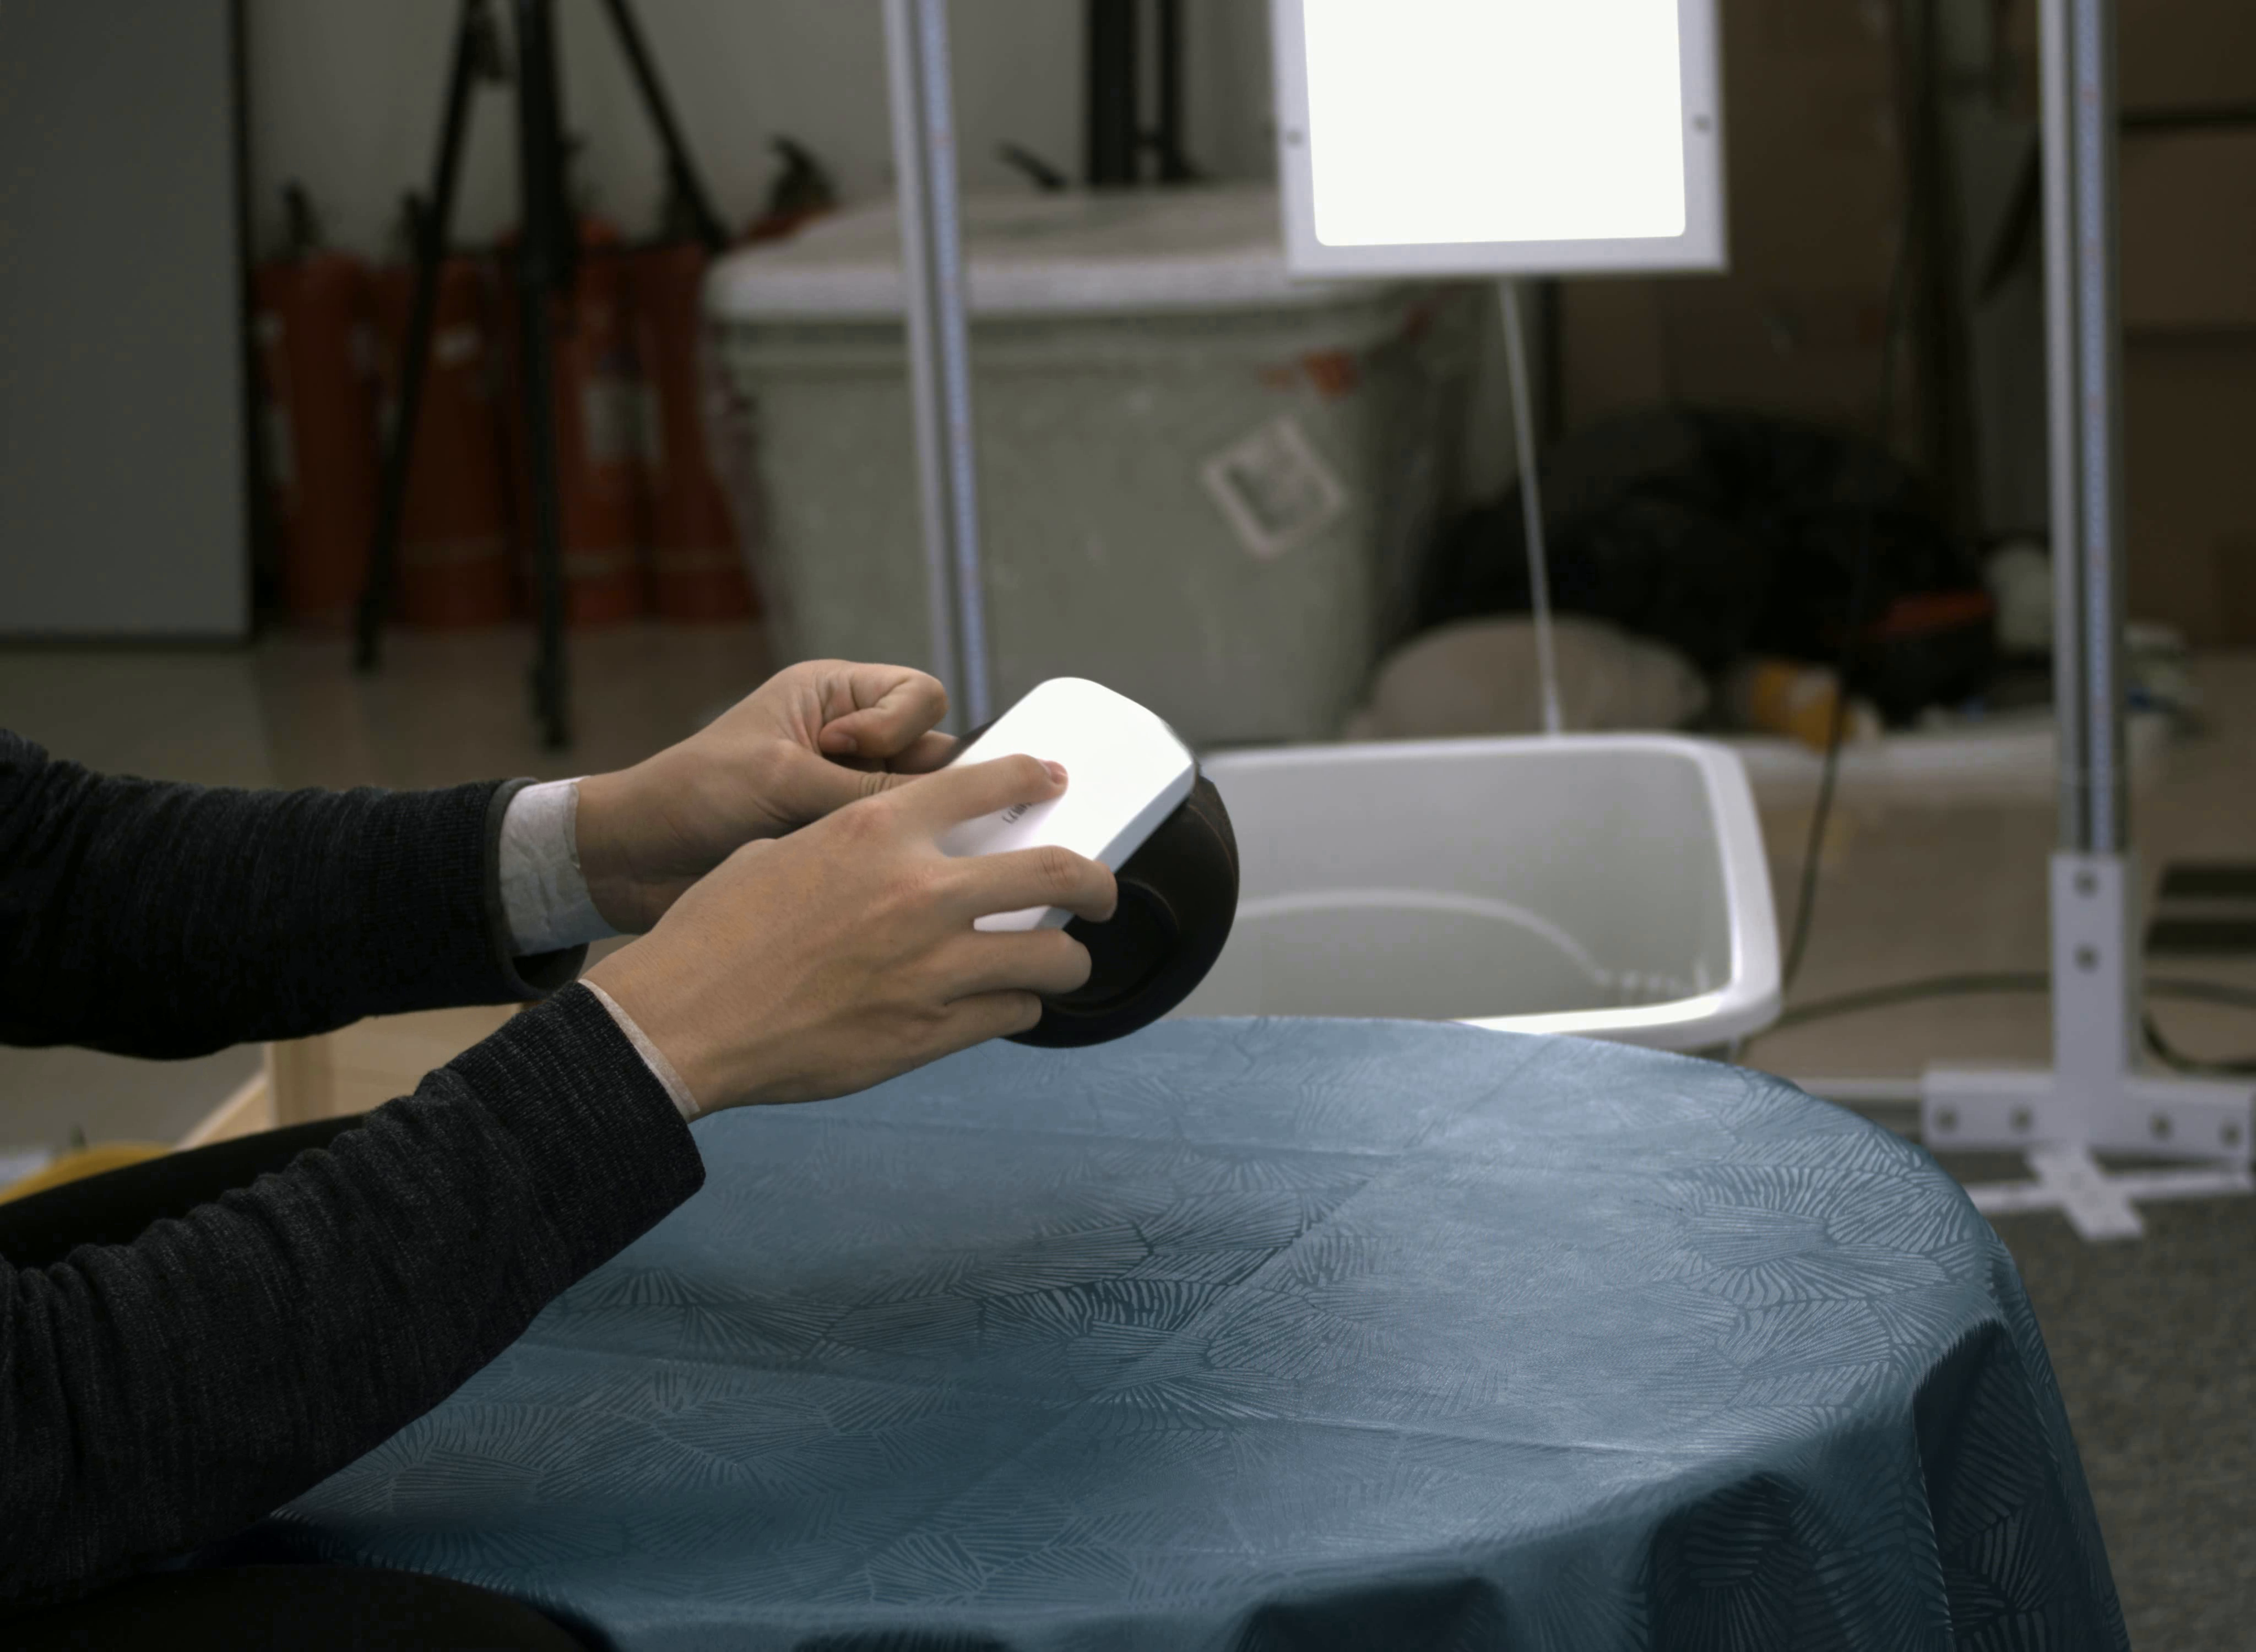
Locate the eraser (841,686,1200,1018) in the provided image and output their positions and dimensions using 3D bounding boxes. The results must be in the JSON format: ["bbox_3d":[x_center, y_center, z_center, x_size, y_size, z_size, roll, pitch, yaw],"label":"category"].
[{"bbox_3d":[-0.034,0.005,1.753,0.064,0.035,0.129,28,54,25],"label":"eraser"}]

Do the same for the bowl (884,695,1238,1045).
[{"bbox_3d":[-0.019,0.023,1.831,0.117,0.119,0.070,-6,33,-9],"label":"bowl"}]
